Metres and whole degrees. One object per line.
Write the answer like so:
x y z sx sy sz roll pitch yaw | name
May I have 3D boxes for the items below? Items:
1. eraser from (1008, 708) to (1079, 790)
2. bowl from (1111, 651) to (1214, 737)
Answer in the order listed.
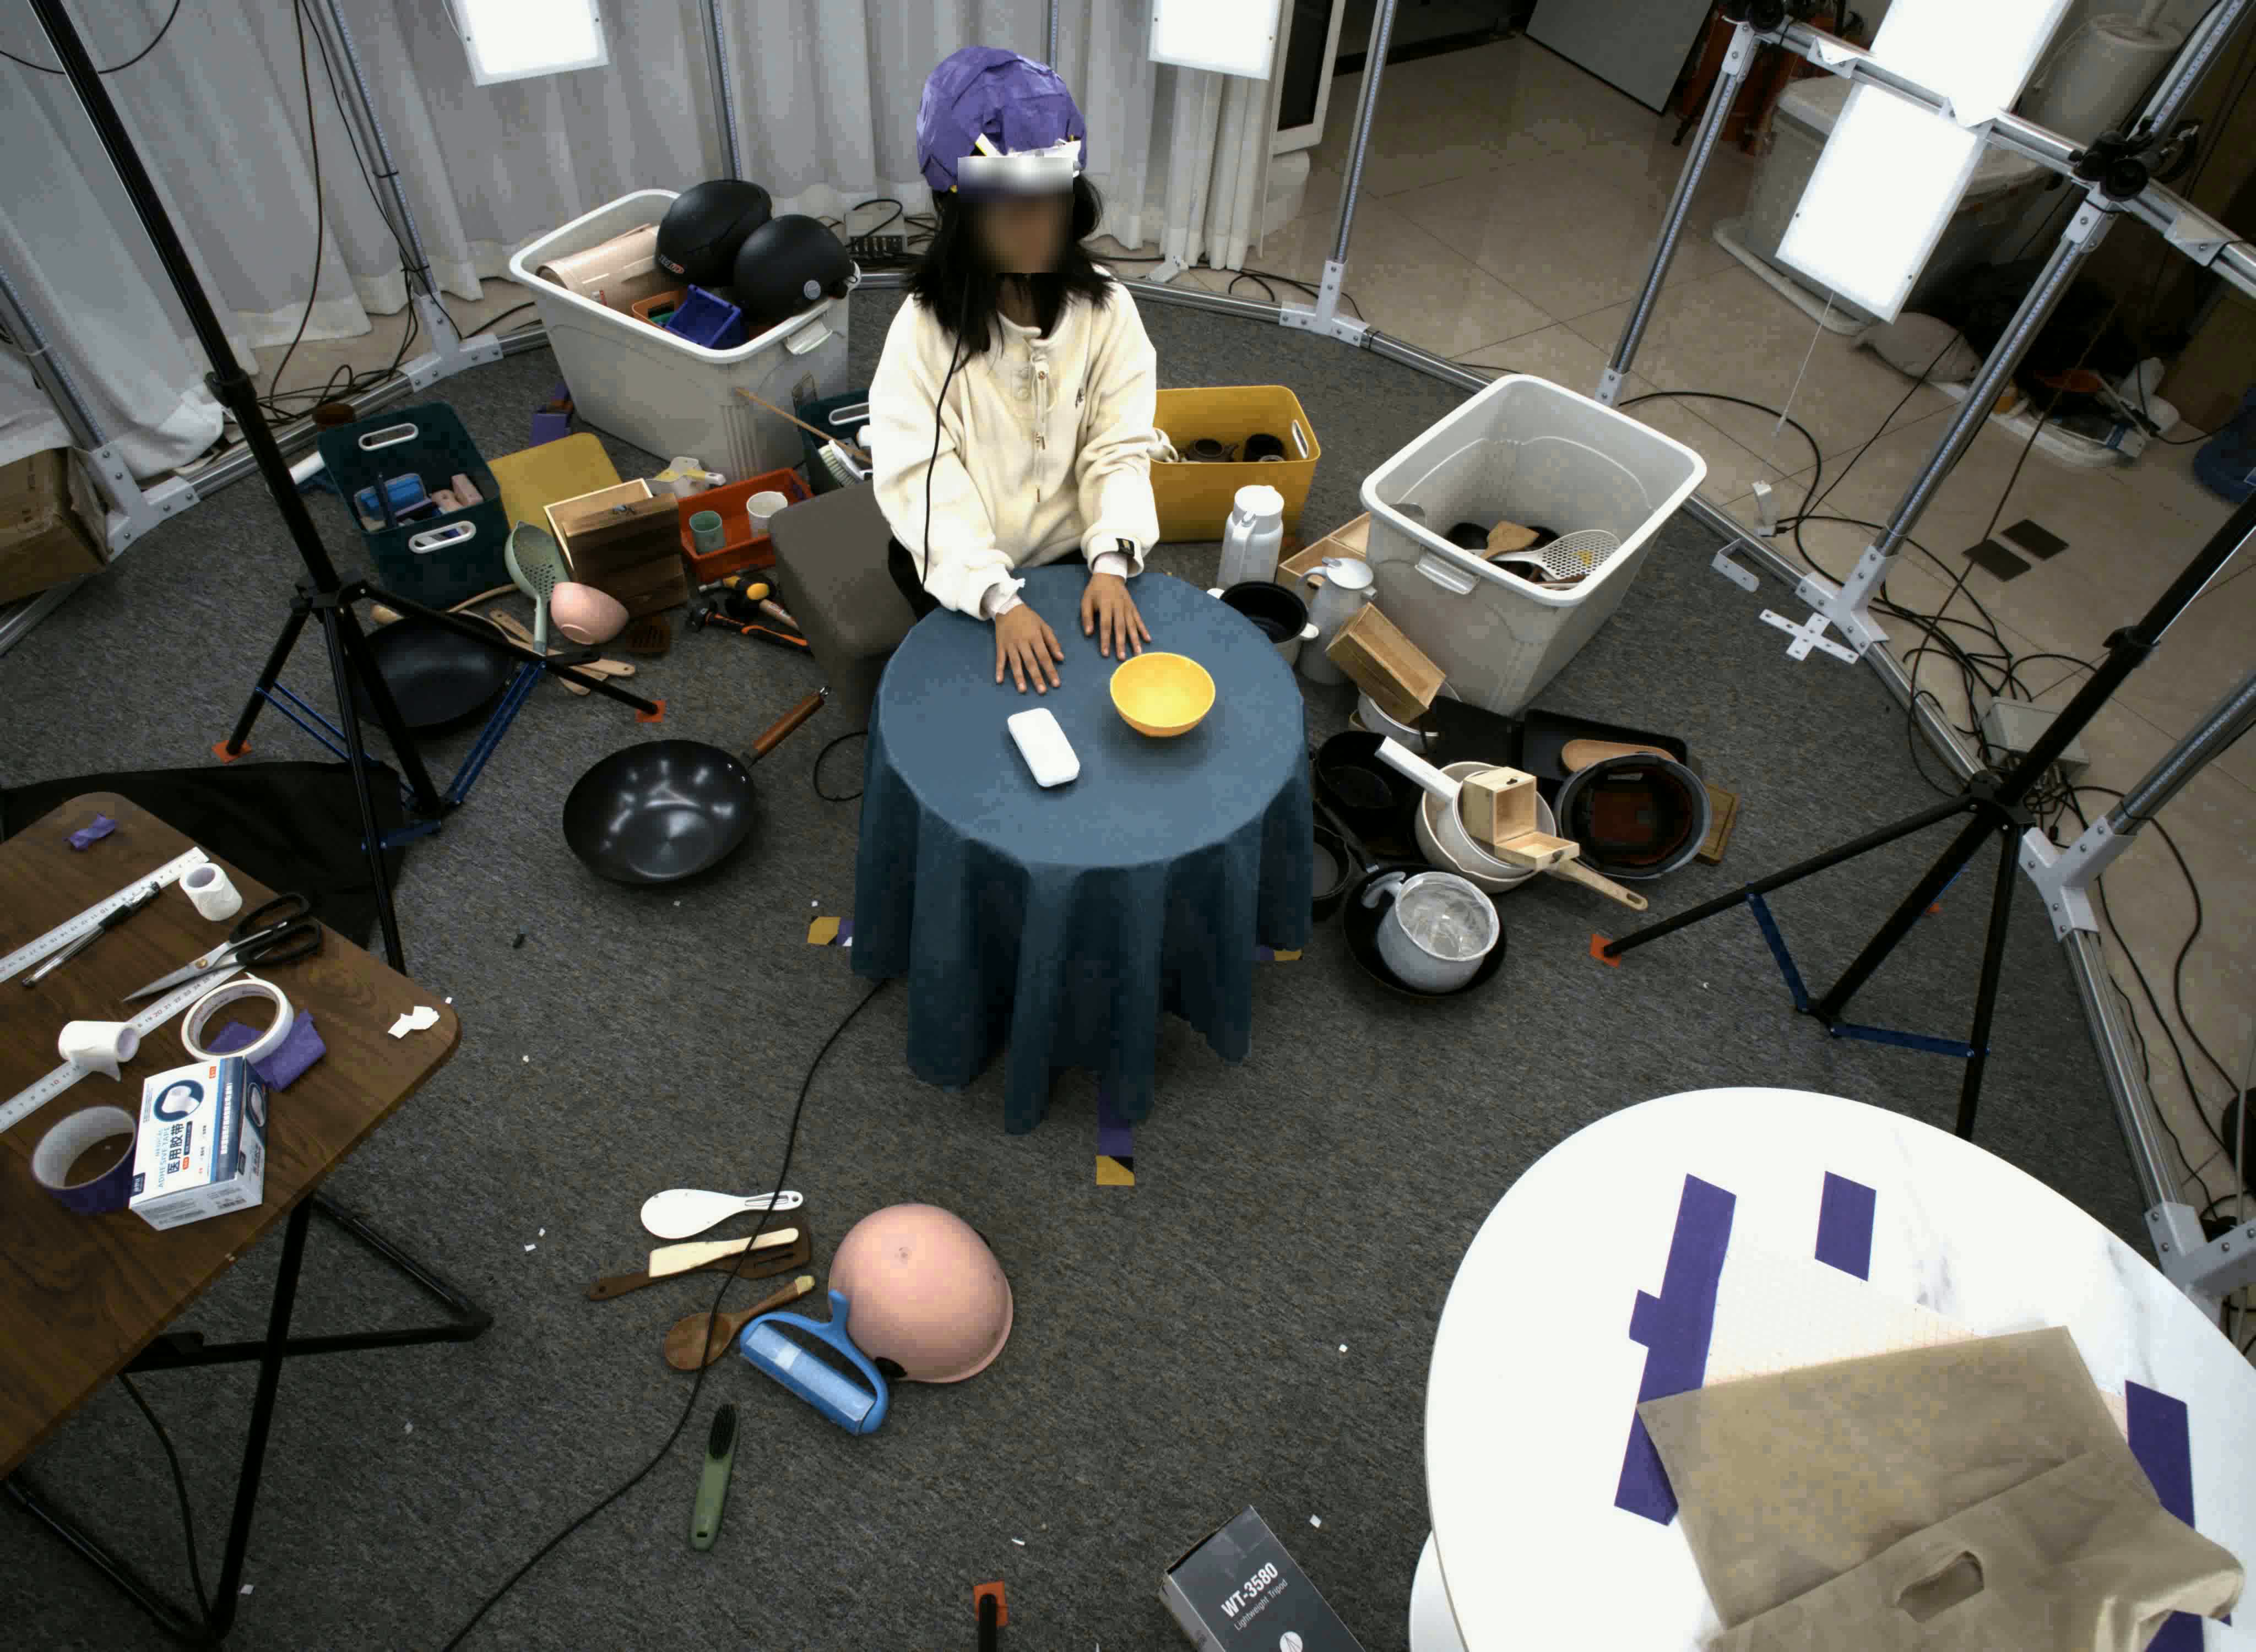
-0.115 -0.107 1.735 0.063 0.034 0.134 -16 53 -19 | eraser
0.046 -0.172 1.785 0.145 0.058 0.149 2 51 -2 | bowl
